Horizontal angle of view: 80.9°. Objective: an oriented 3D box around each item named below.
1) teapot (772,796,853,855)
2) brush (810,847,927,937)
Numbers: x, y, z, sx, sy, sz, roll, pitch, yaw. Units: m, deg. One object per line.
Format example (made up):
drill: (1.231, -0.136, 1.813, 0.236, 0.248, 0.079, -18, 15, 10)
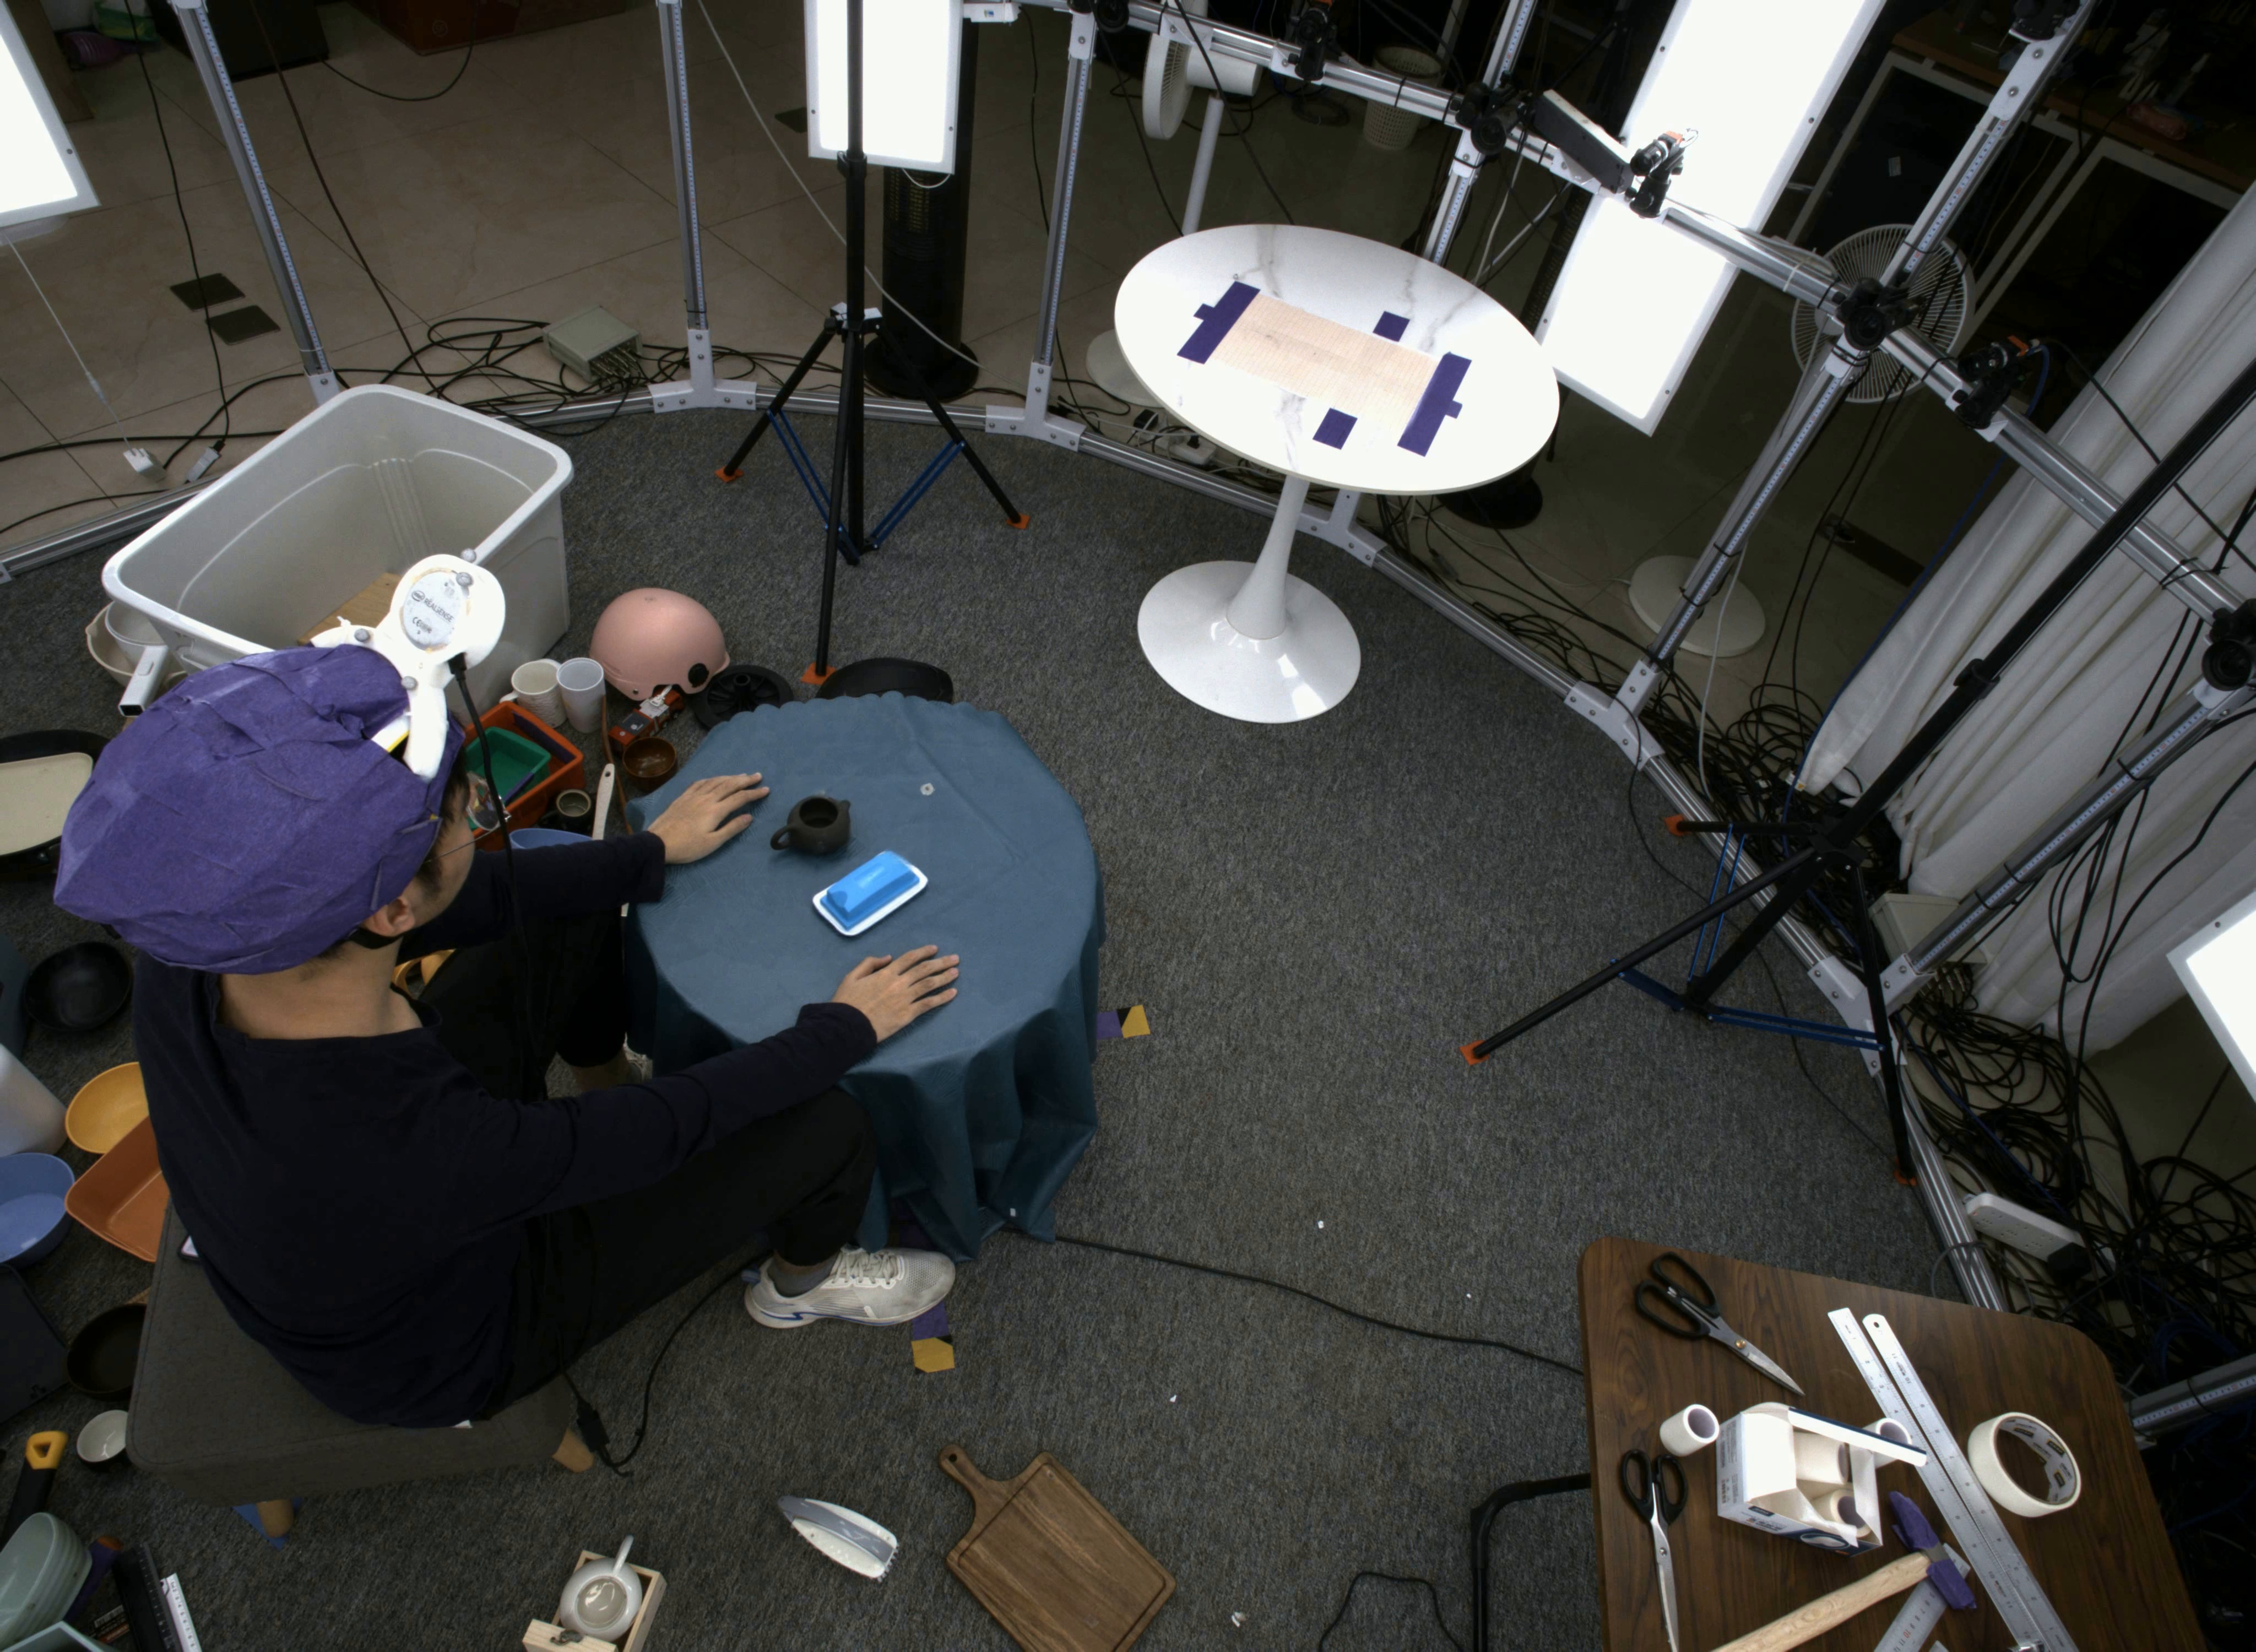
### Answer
teapot: (-0.413, 0.001, 1.696, 0.115, 0.054, 0.080, -21, 57, -29)
brush: (-0.331, 0.075, 1.654, 0.081, 0.057, 0.144, 40, 53, 22)
